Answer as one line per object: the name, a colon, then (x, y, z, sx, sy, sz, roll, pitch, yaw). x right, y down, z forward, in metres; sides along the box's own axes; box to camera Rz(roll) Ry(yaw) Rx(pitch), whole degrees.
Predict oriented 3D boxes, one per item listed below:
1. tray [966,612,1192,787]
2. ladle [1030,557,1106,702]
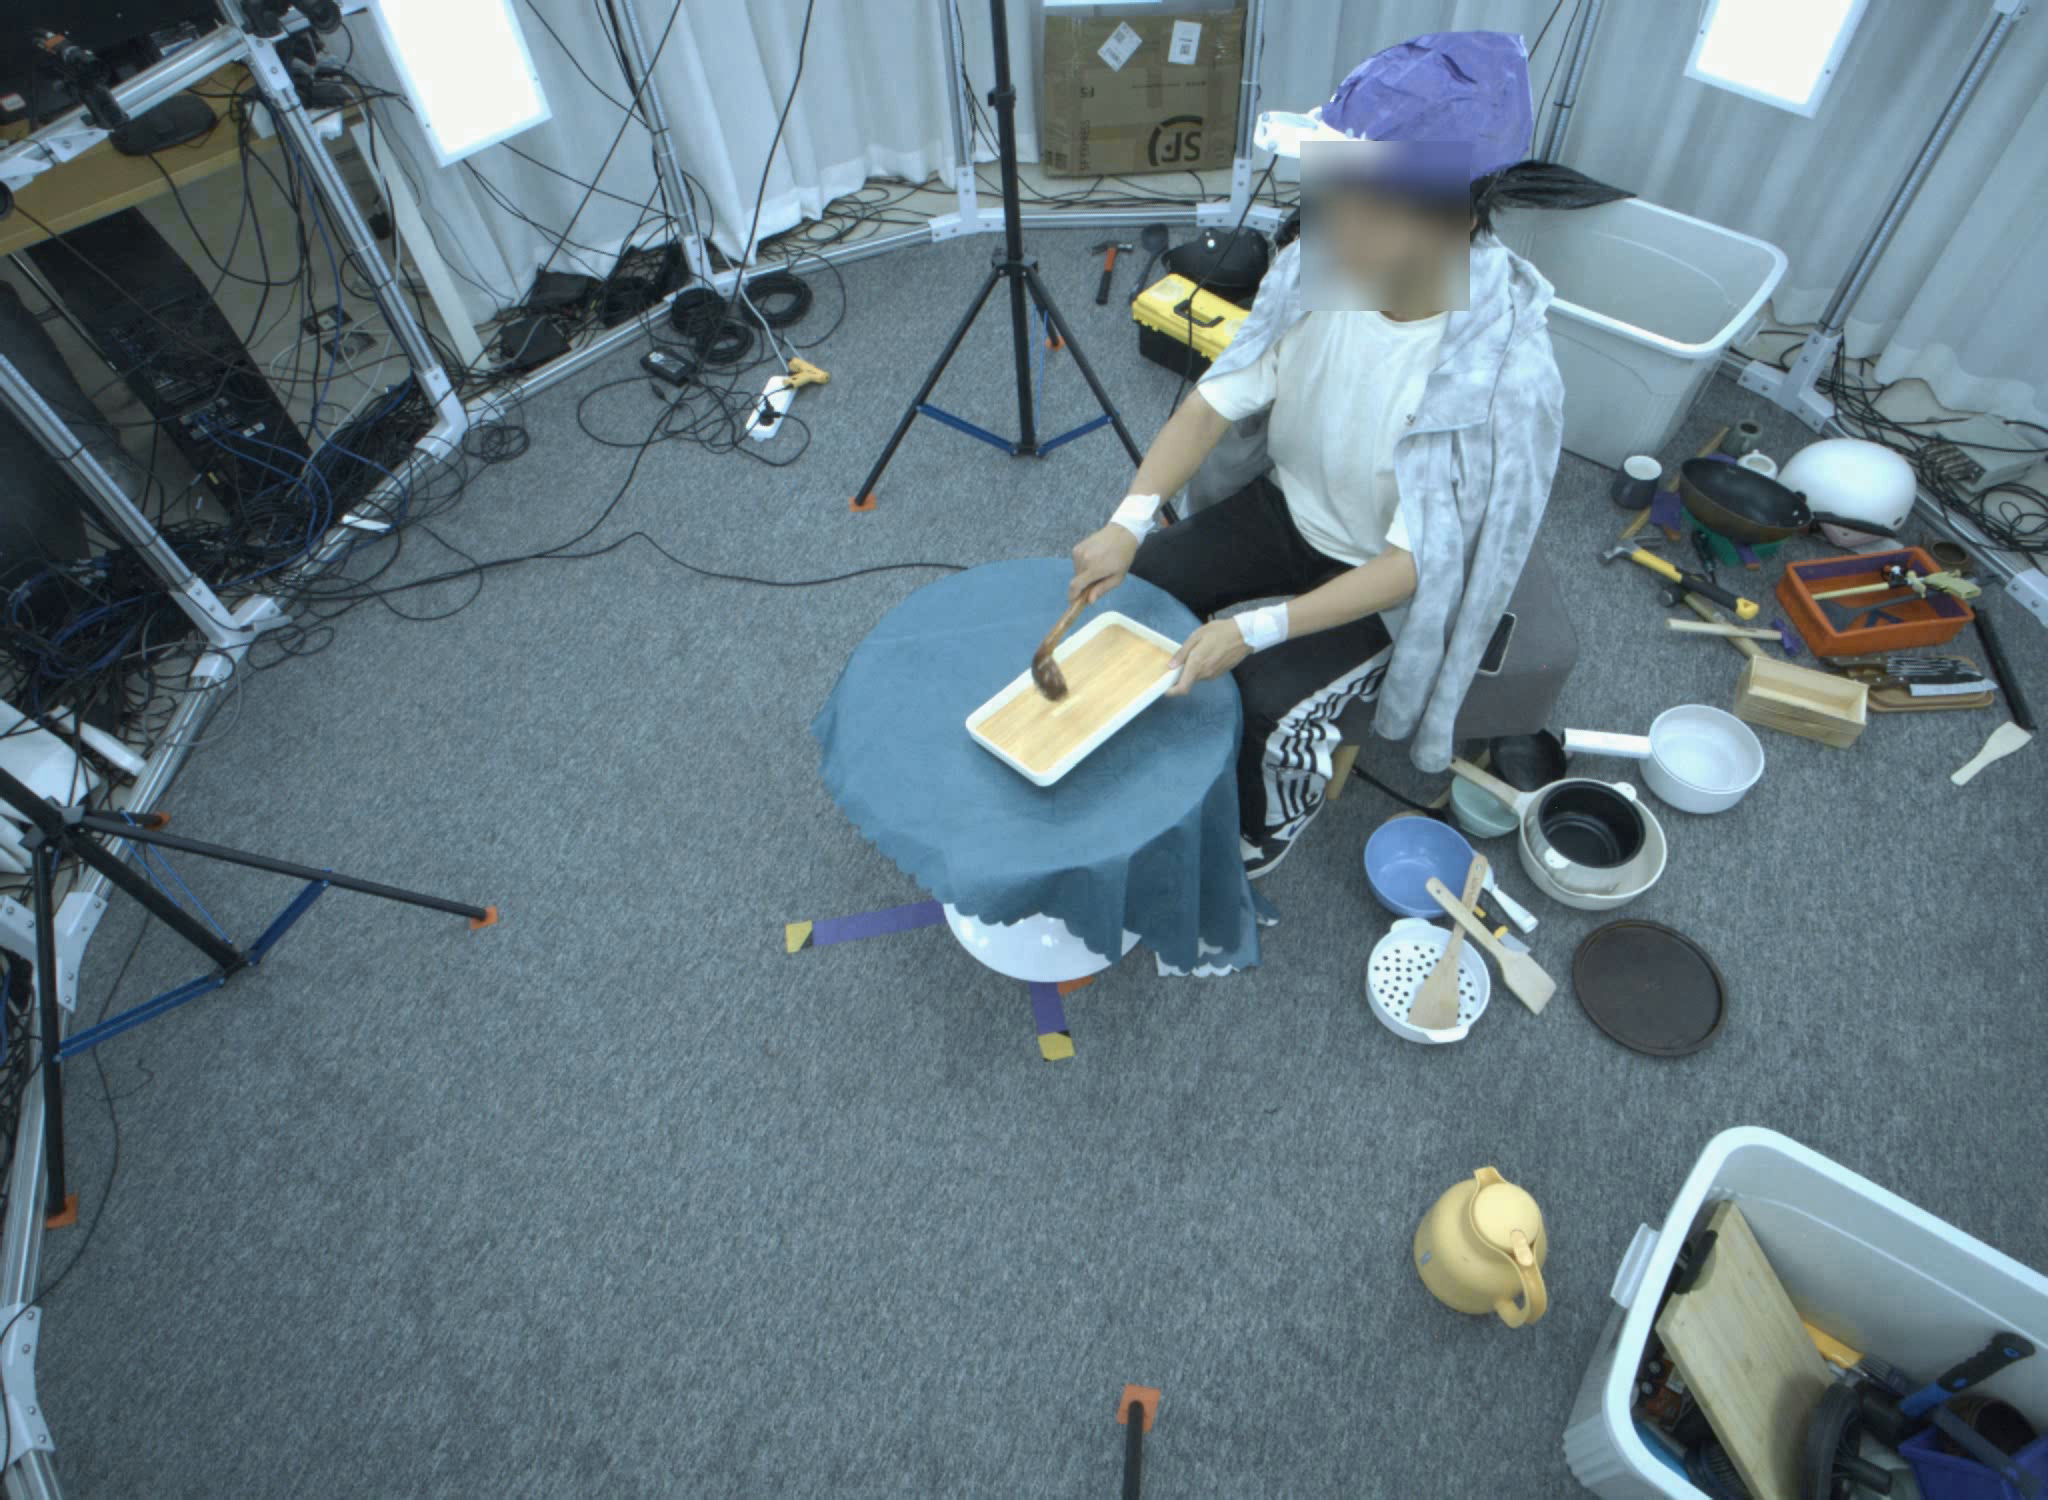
tray: (0.079, -0.079, 1.783, 0.302, 0.028, 0.187, -39, 46, -18)
ladle: (0.084, -0.180, 1.765, 0.075, 0.083, 0.274, 21, 56, 18)
